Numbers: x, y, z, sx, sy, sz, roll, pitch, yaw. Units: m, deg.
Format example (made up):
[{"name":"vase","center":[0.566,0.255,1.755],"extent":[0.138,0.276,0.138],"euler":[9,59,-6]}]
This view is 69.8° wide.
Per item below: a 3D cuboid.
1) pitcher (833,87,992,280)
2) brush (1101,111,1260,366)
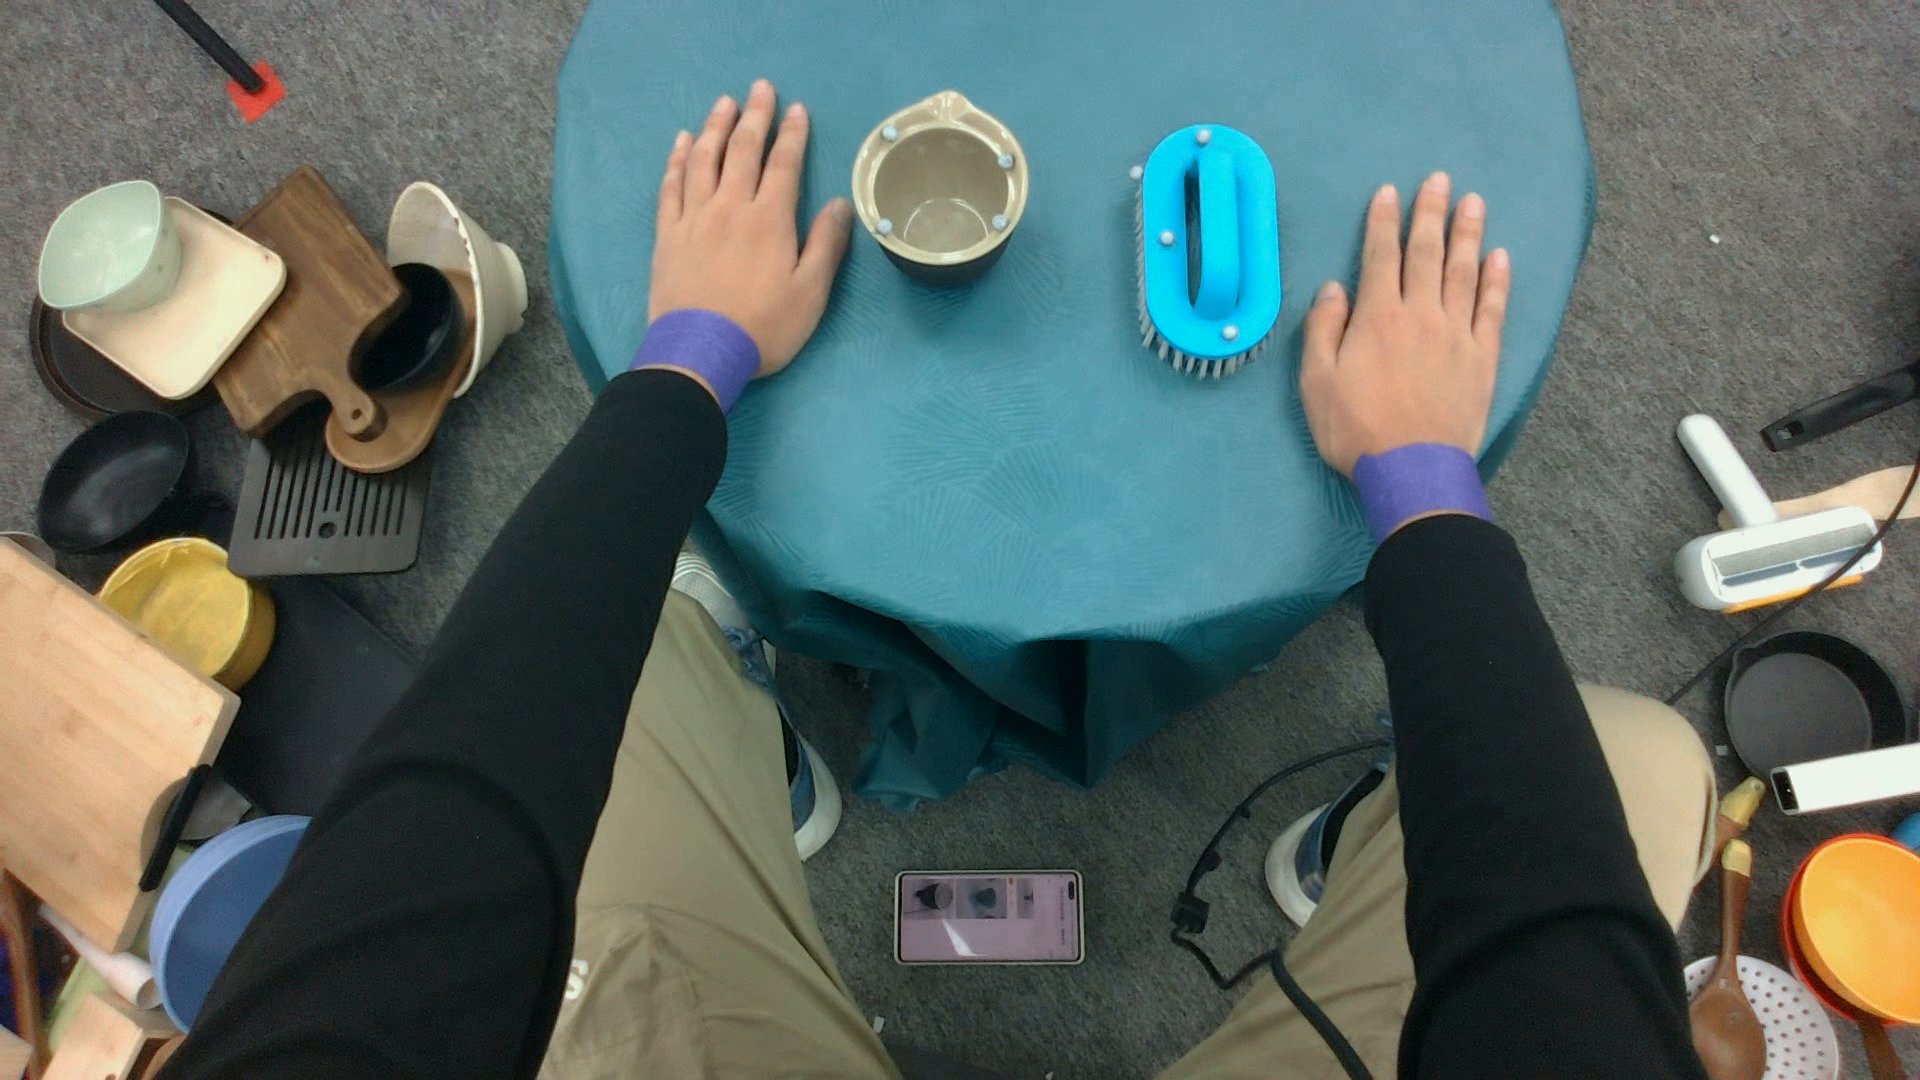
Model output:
[{"name":"pitcher","center":[-0.023,-0.186,0.751],"extent":[0.083,0.071,0.096],"euler":[10,74,5]},{"name":"brush","center":[0.123,-0.171,0.749],"extent":[0.084,0.063,0.142],"euler":[2,76,-3]}]
